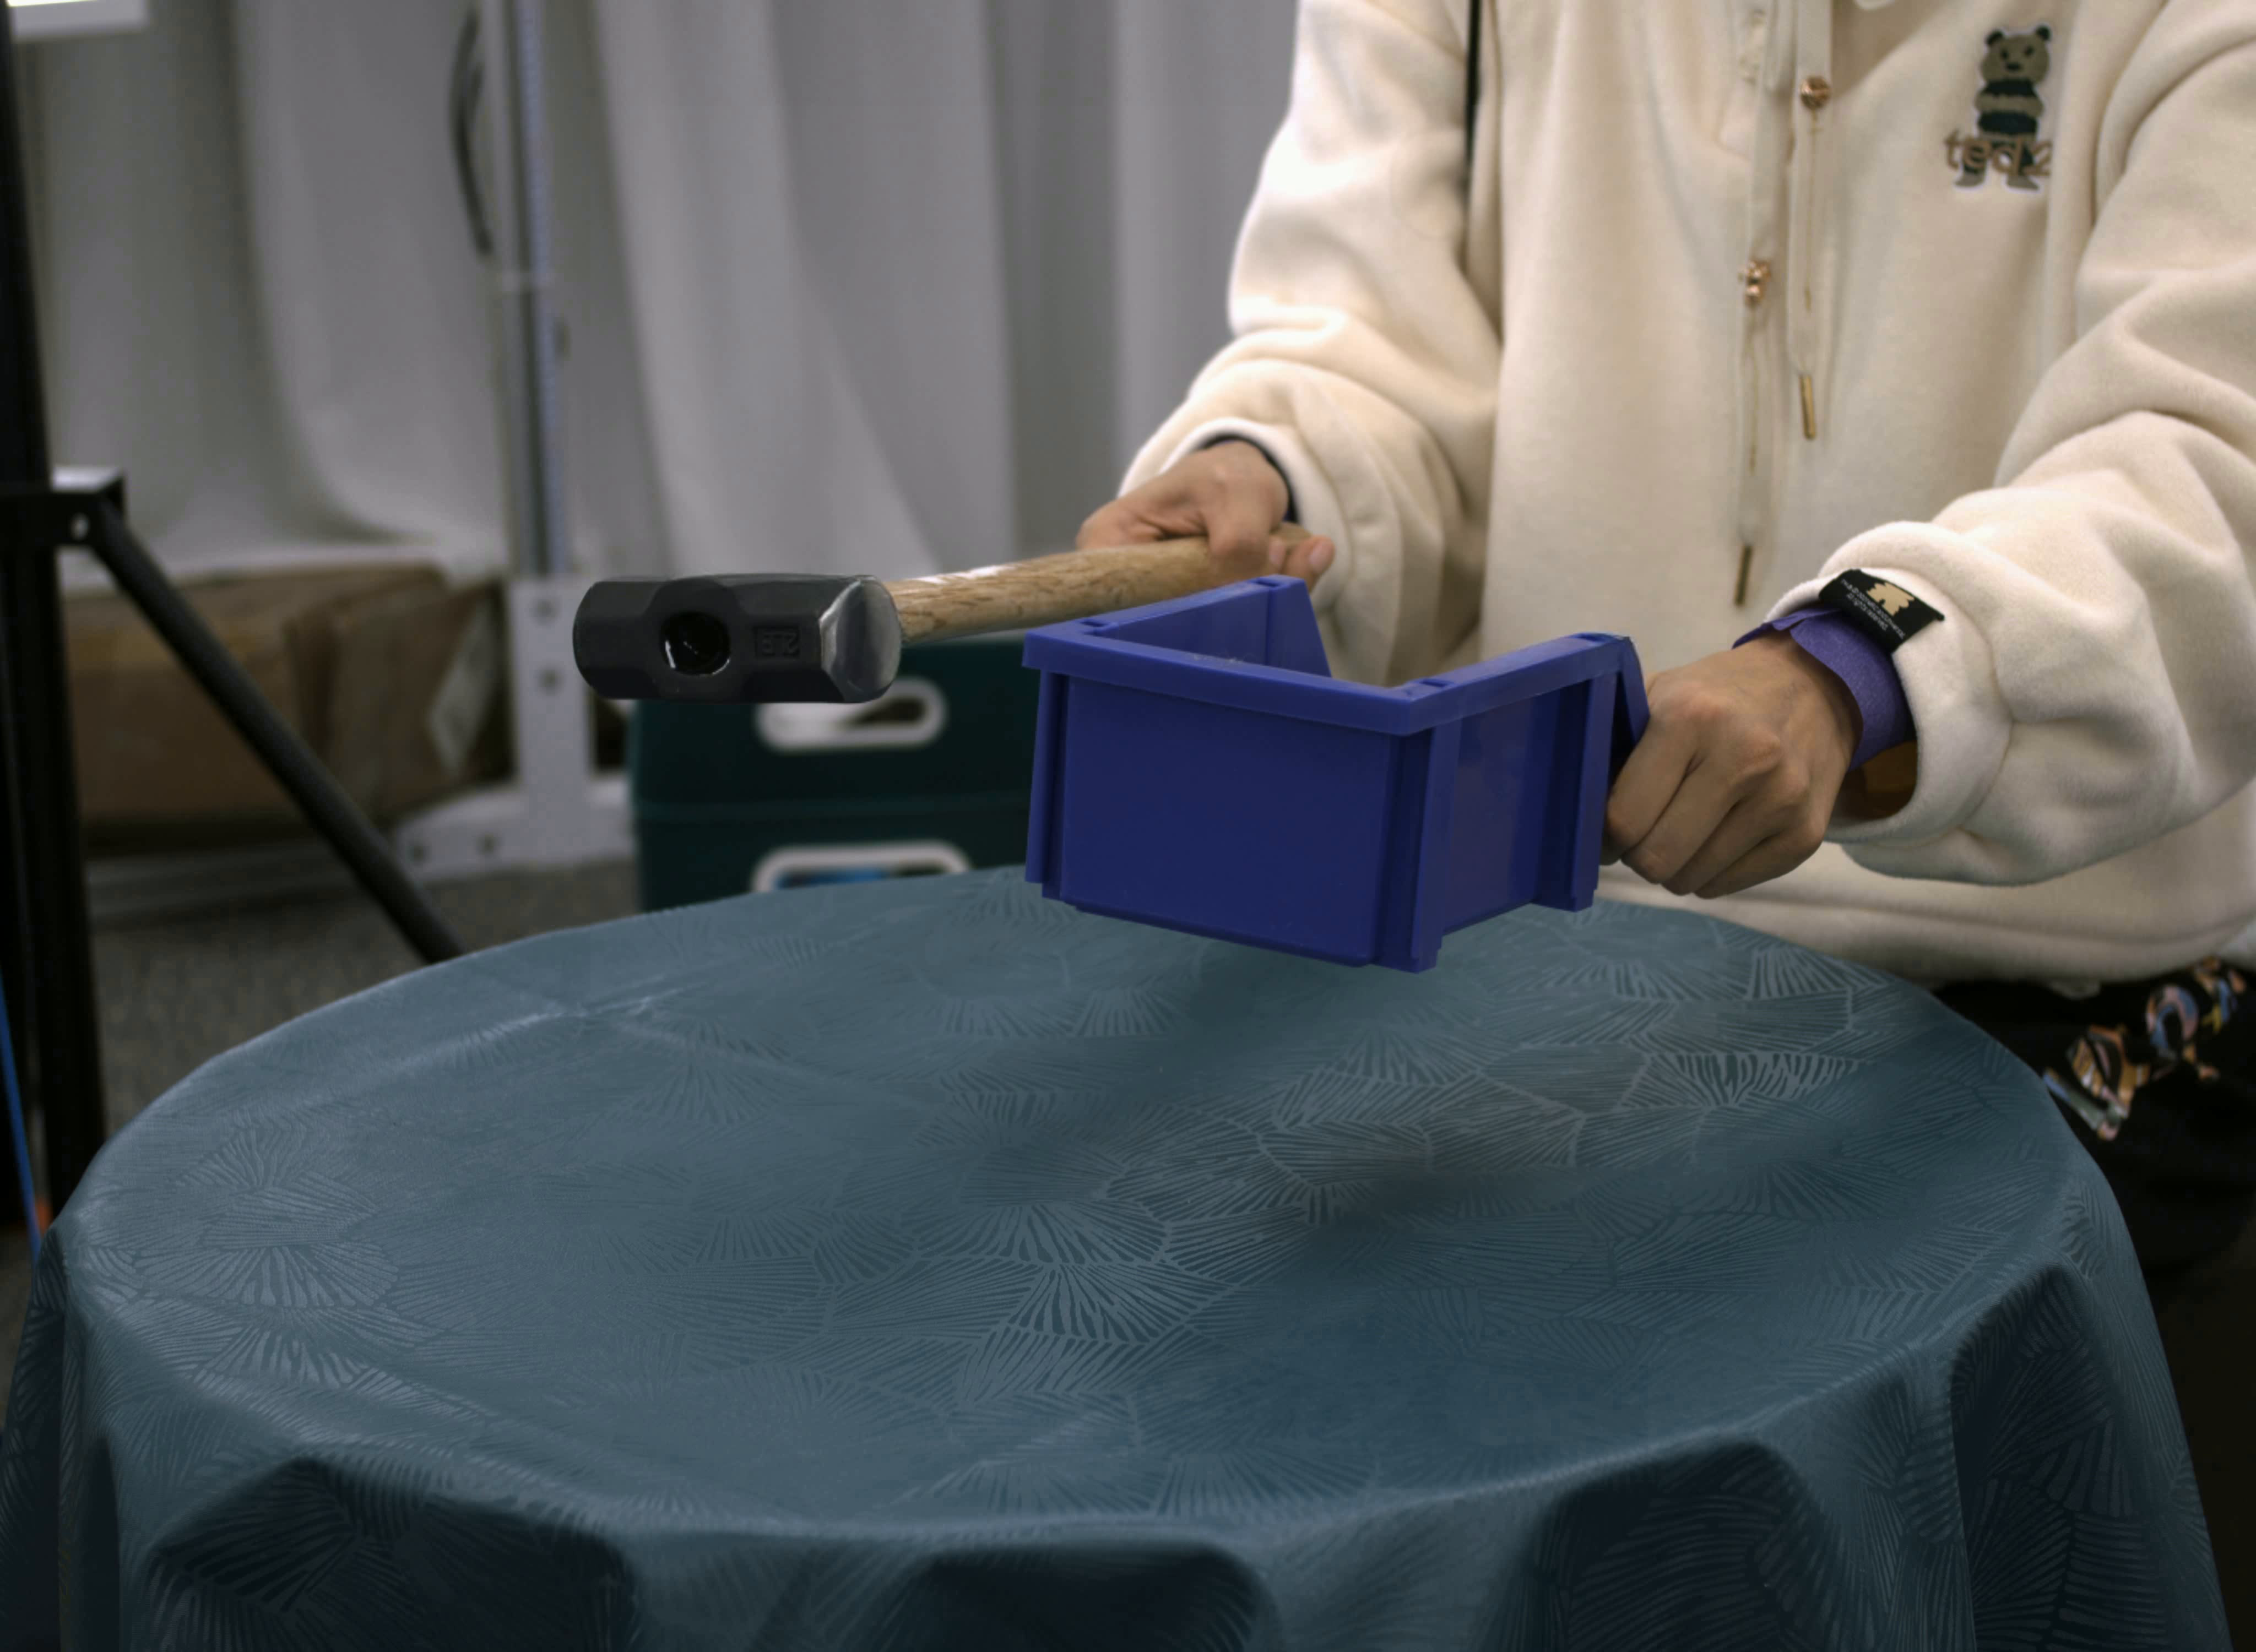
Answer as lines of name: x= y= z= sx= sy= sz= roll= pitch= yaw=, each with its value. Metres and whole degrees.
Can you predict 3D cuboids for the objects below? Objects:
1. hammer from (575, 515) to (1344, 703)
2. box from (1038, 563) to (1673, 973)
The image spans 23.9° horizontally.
hammer: x=-0.035 y=-0.074 z=1.703 sx=0.109 sy=0.038 sz=0.298 roll=2 pitch=9 yaw=40
box: x=0.066 y=-0.020 z=1.532 sx=0.127 sy=0.082 sz=0.176 roll=11 pitch=16 yaw=29
